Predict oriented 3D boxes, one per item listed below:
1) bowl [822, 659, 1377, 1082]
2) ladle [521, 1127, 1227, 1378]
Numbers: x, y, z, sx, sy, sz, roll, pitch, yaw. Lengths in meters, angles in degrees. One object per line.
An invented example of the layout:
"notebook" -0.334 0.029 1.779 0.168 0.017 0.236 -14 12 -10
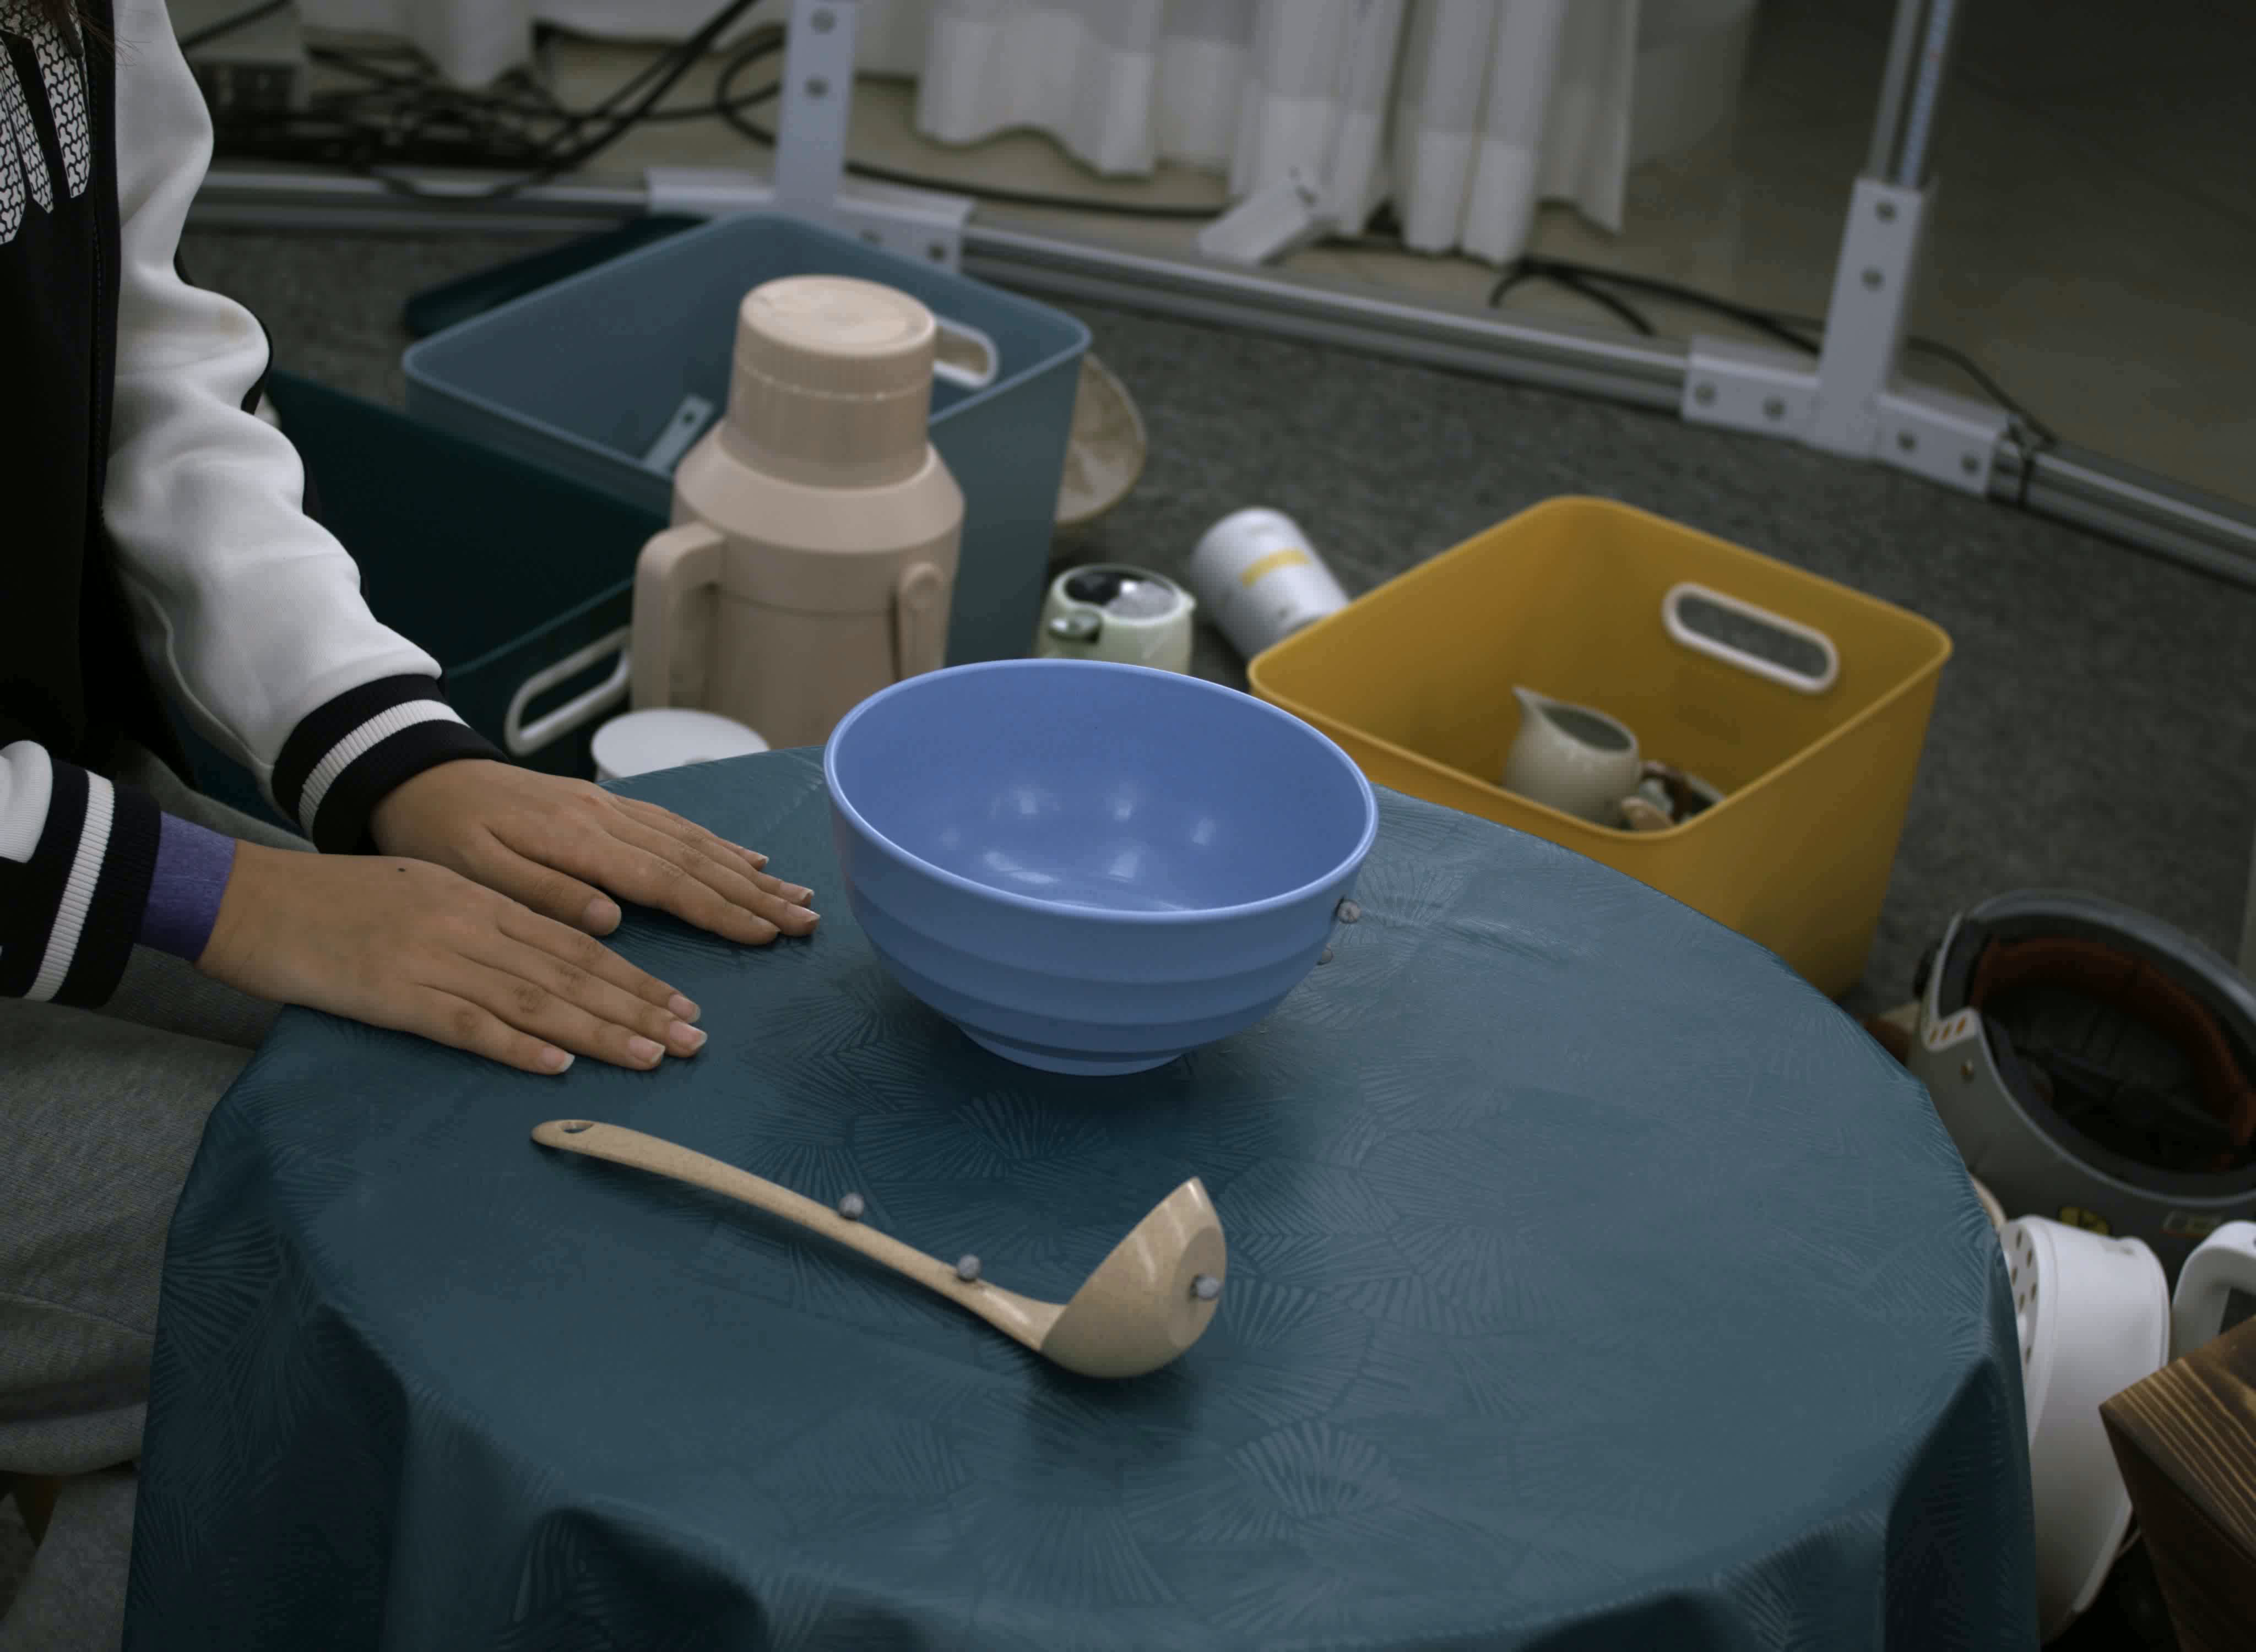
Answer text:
"bowl" -0.014 0.027 1.890 0.196 0.095 0.198 4 28 -3
"ladle" -0.088 0.111 1.726 0.255 0.072 0.072 19 28 23
